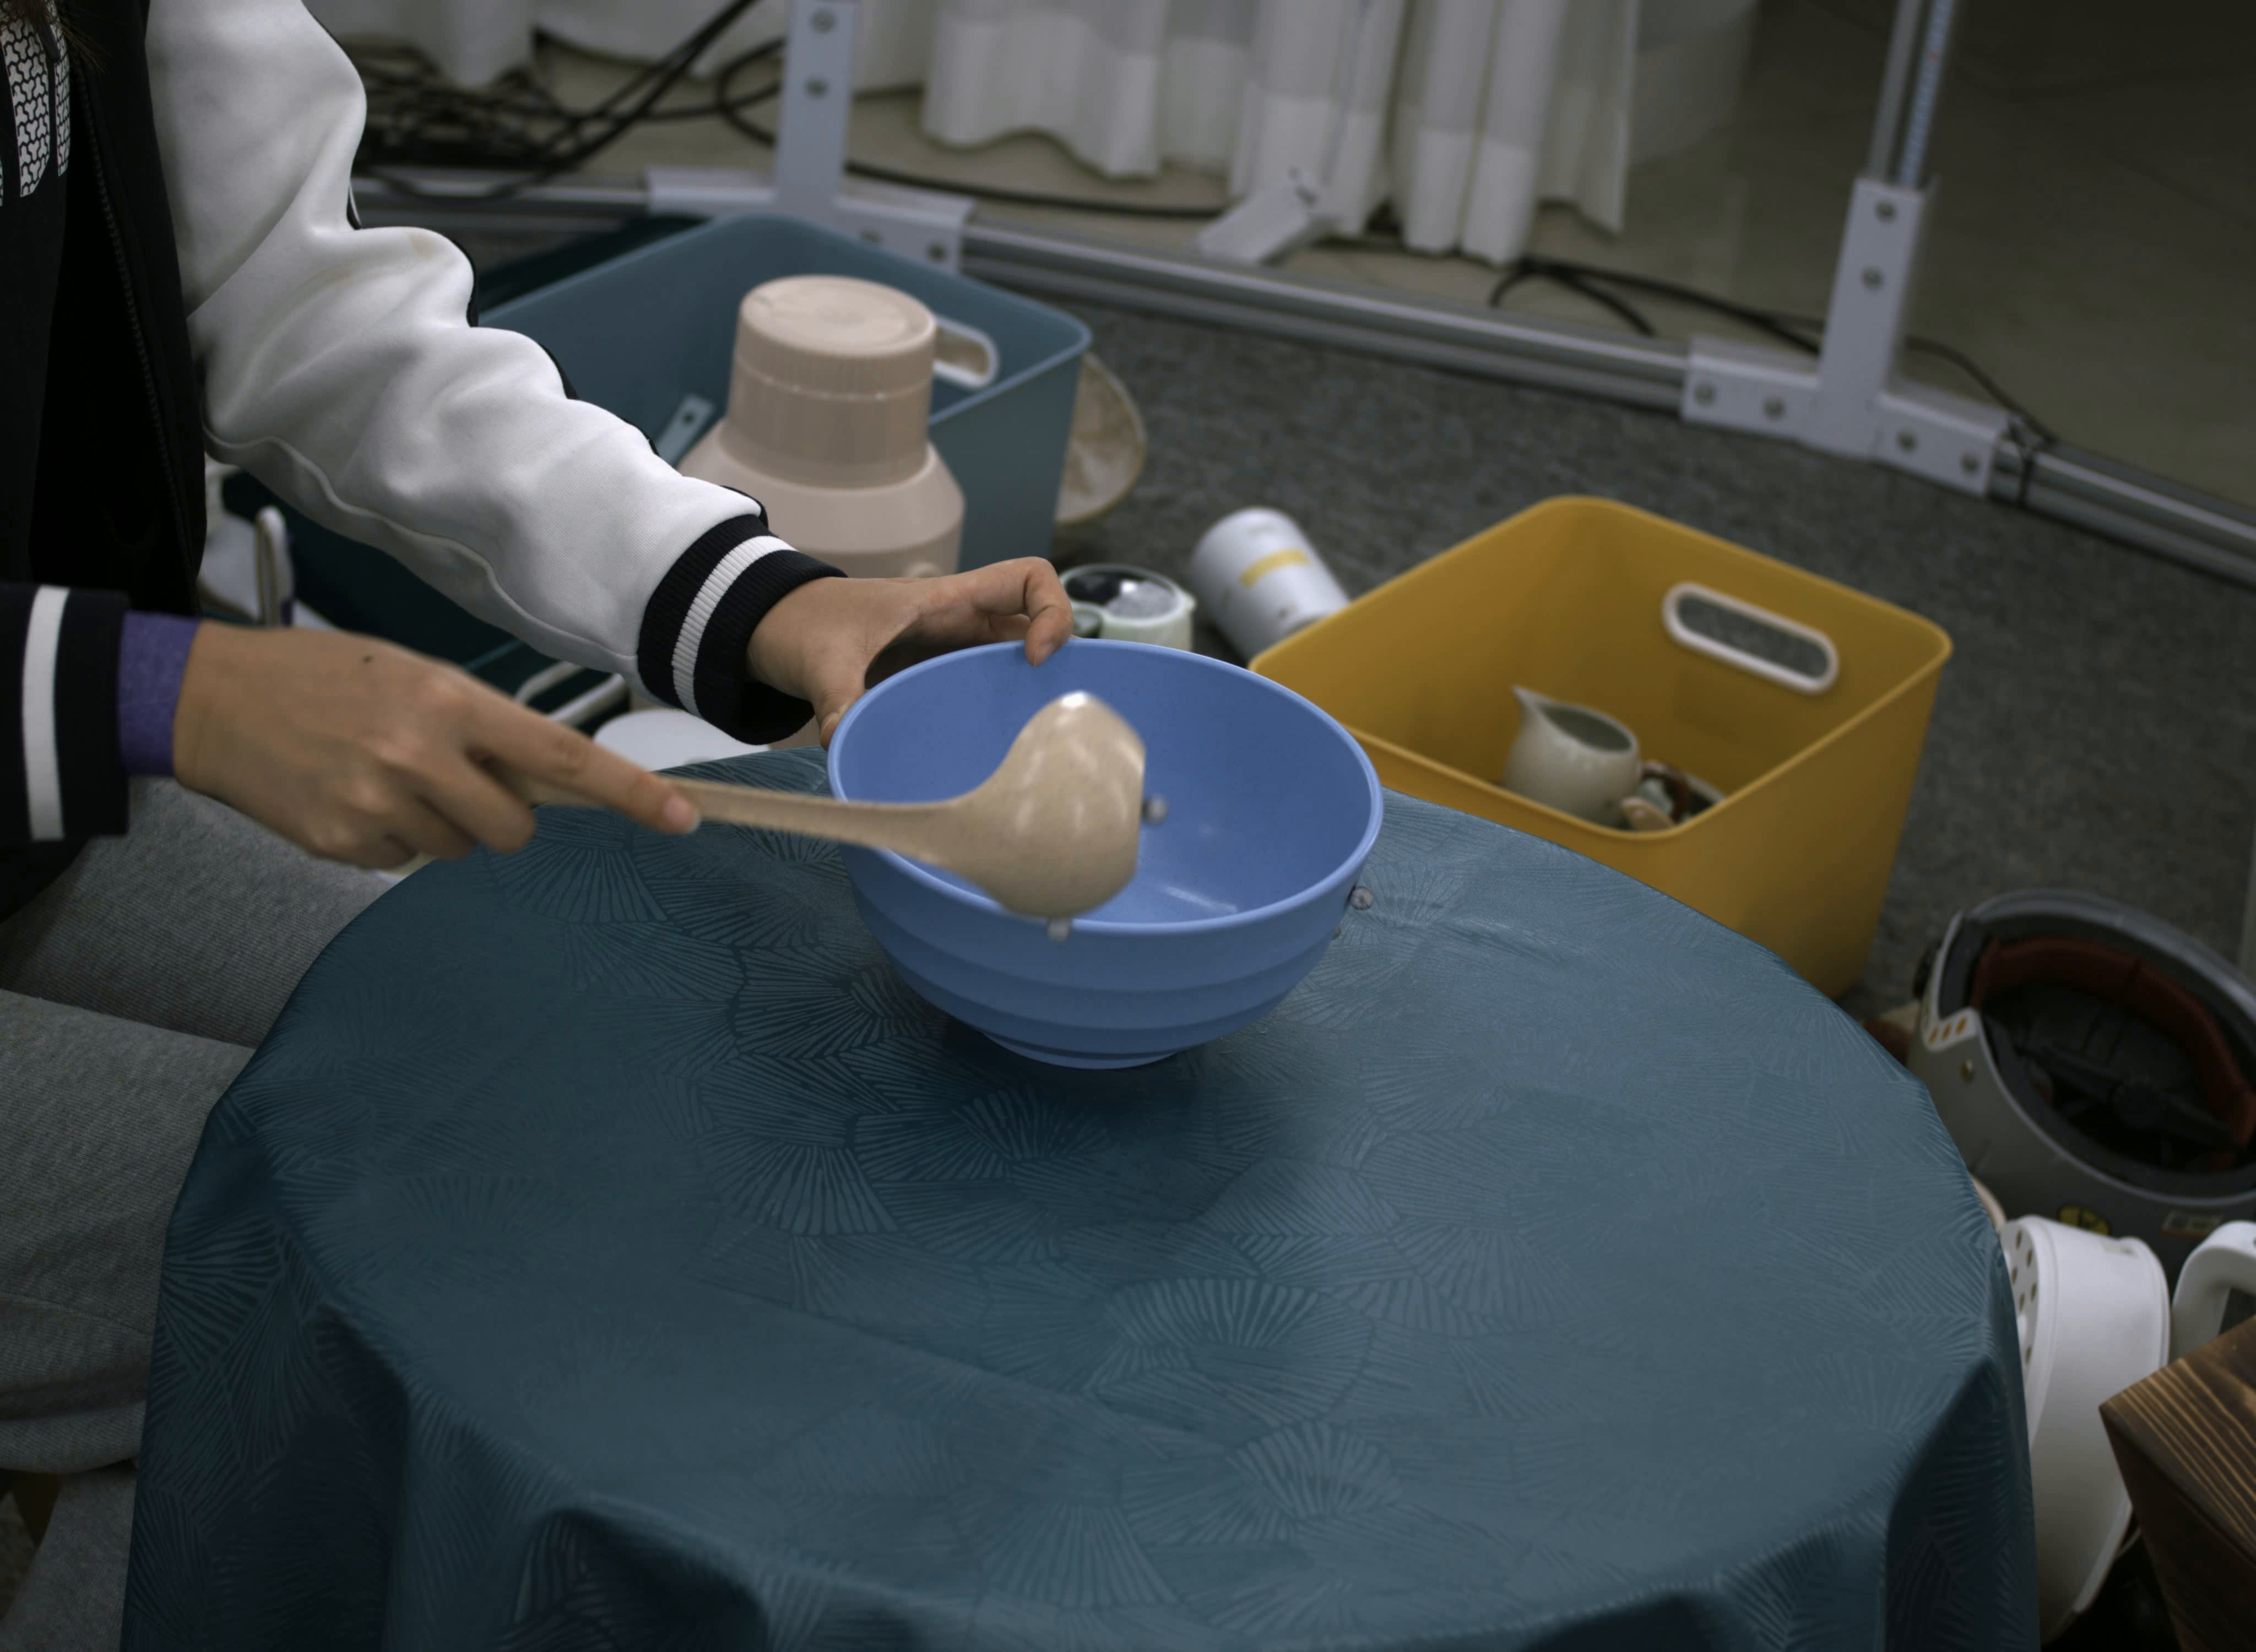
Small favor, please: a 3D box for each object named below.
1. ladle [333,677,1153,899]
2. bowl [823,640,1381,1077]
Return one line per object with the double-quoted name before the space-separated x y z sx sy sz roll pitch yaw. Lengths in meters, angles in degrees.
"ladle" -0.118 -0.029 1.676 0.254 0.072 0.073 9 33 4
"bowl" -0.012 0.025 1.889 0.196 0.095 0.198 2 33 -2
